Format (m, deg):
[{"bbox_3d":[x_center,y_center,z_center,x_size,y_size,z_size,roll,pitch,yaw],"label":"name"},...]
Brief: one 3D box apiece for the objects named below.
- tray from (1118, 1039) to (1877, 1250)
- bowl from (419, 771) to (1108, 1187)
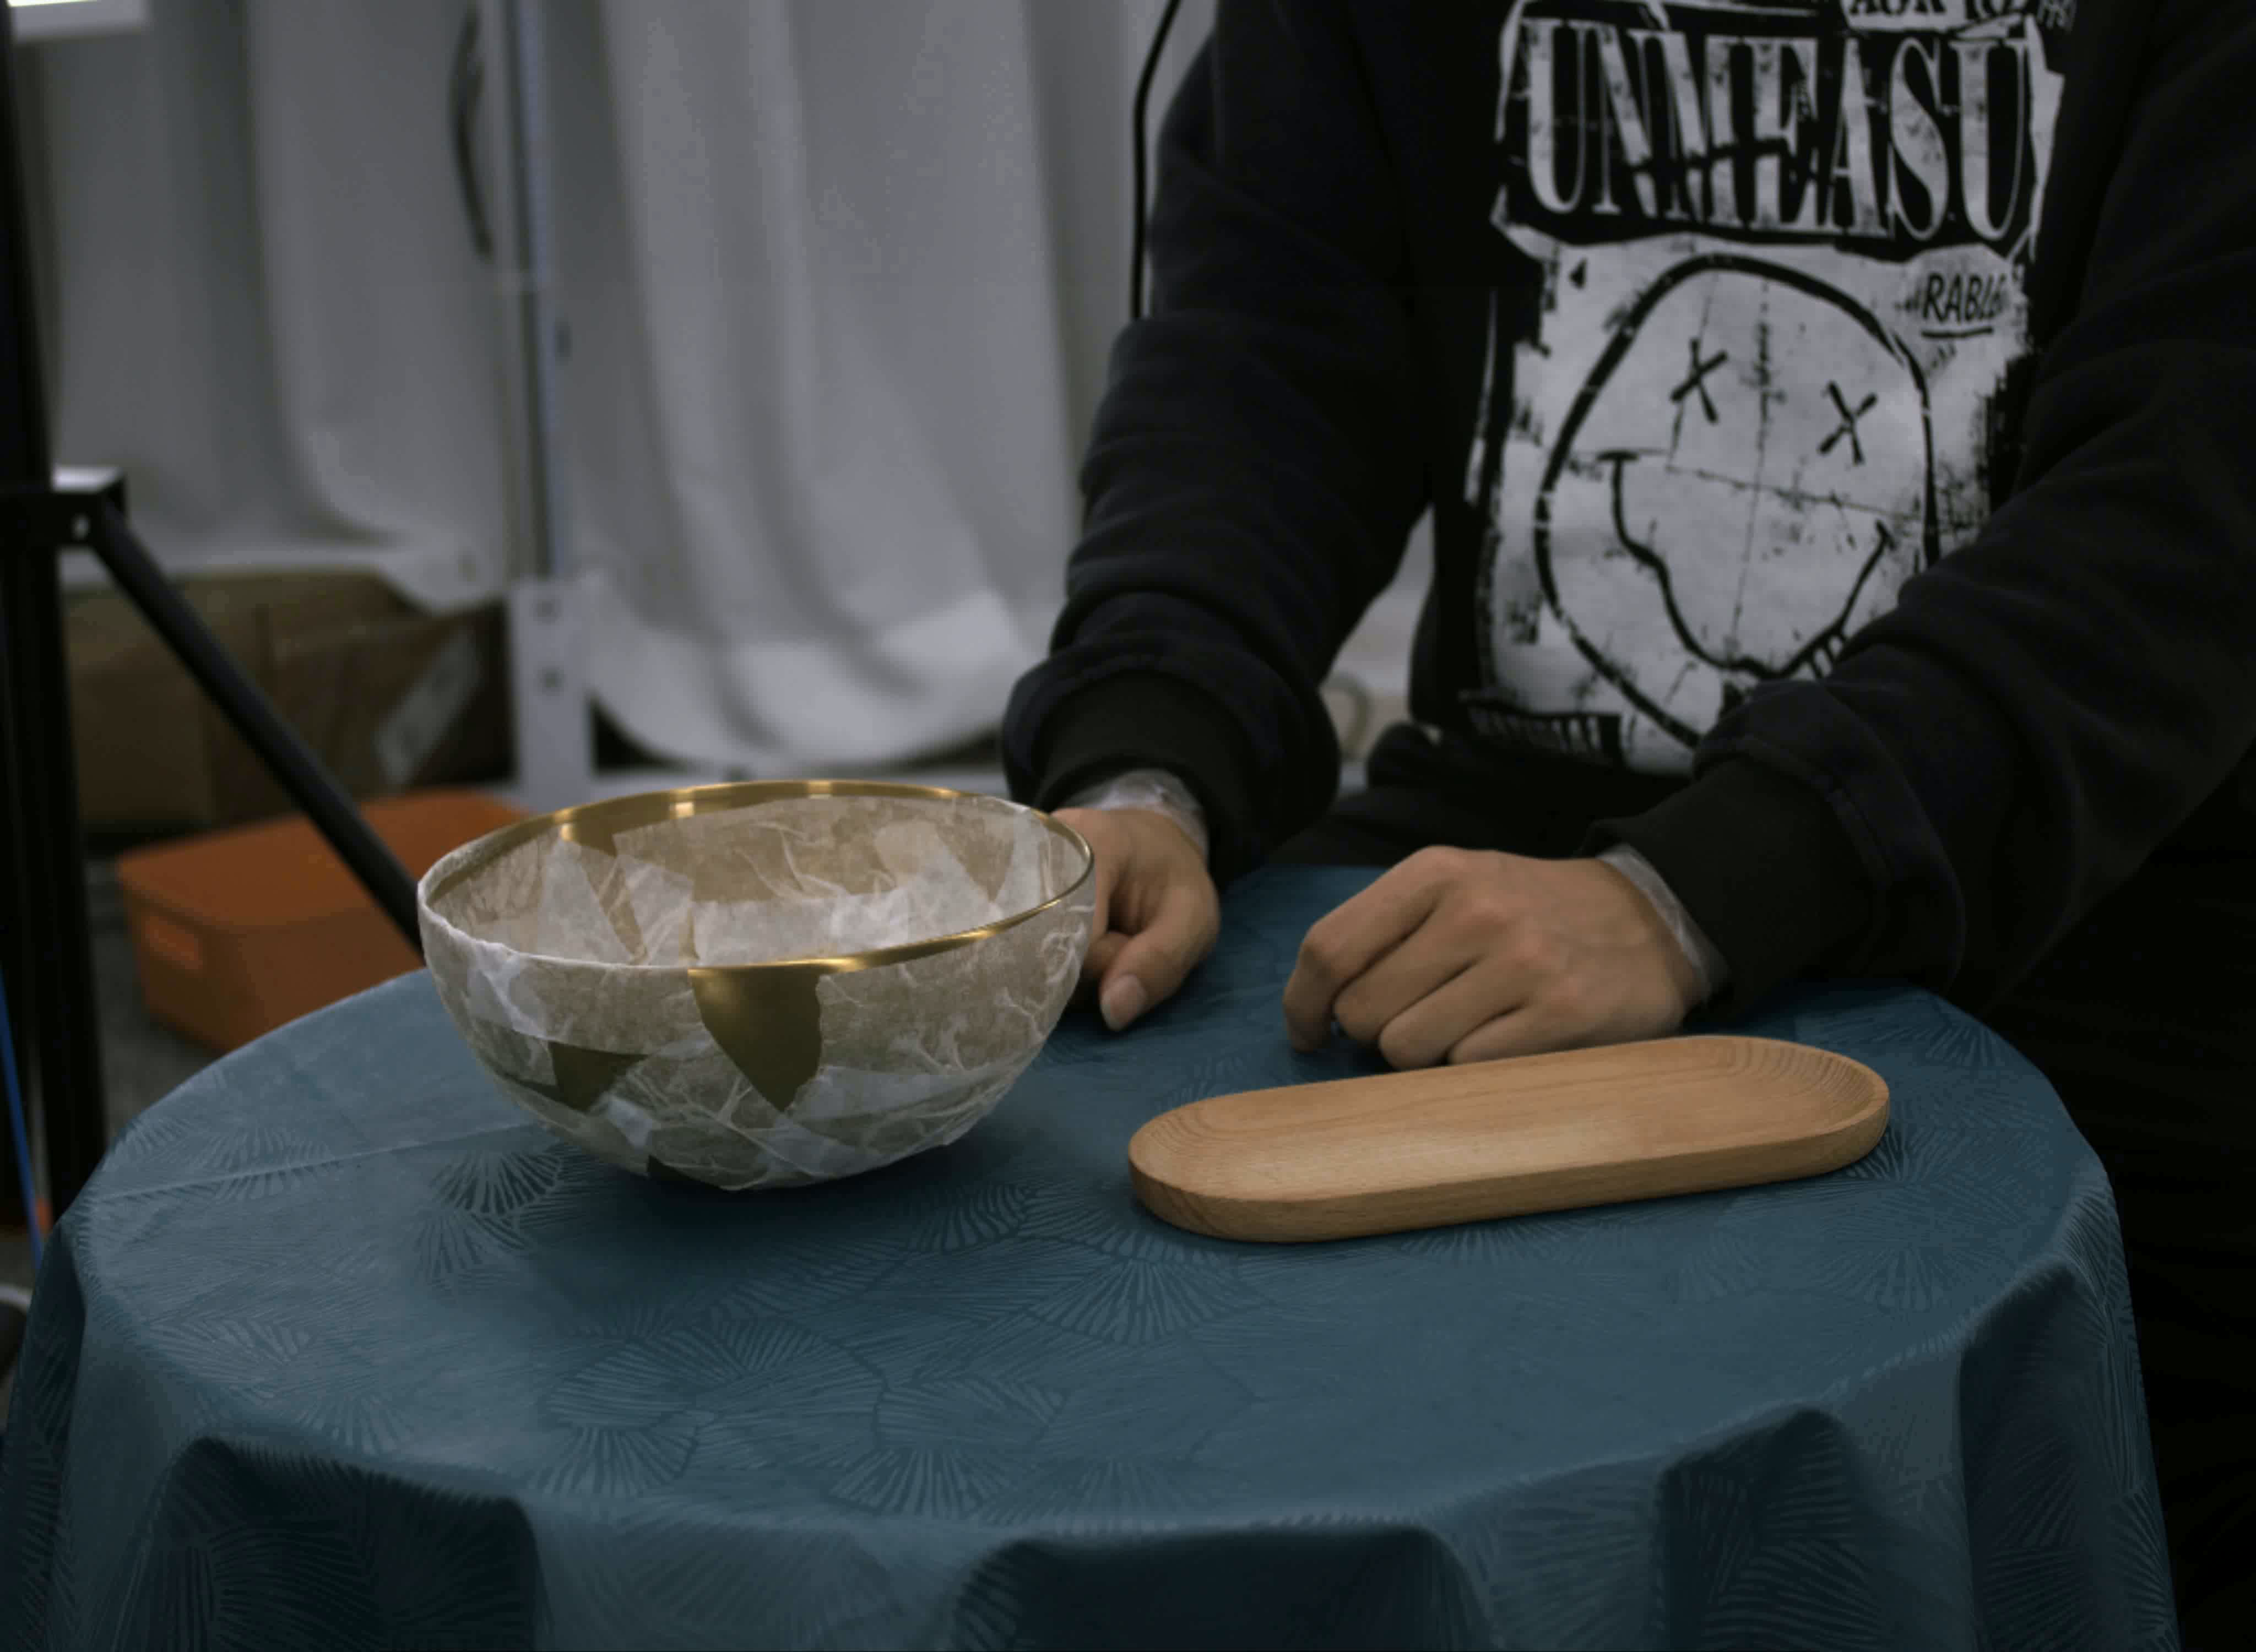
[{"bbox_3d":[0.110,0.094,1.562,0.228,0.020,0.103,-8,15,-13],"label":"tray"},{"bbox_3d":[-0.104,0.054,1.595,0.213,0.094,0.216,-4,15,0],"label":"bowl"}]
